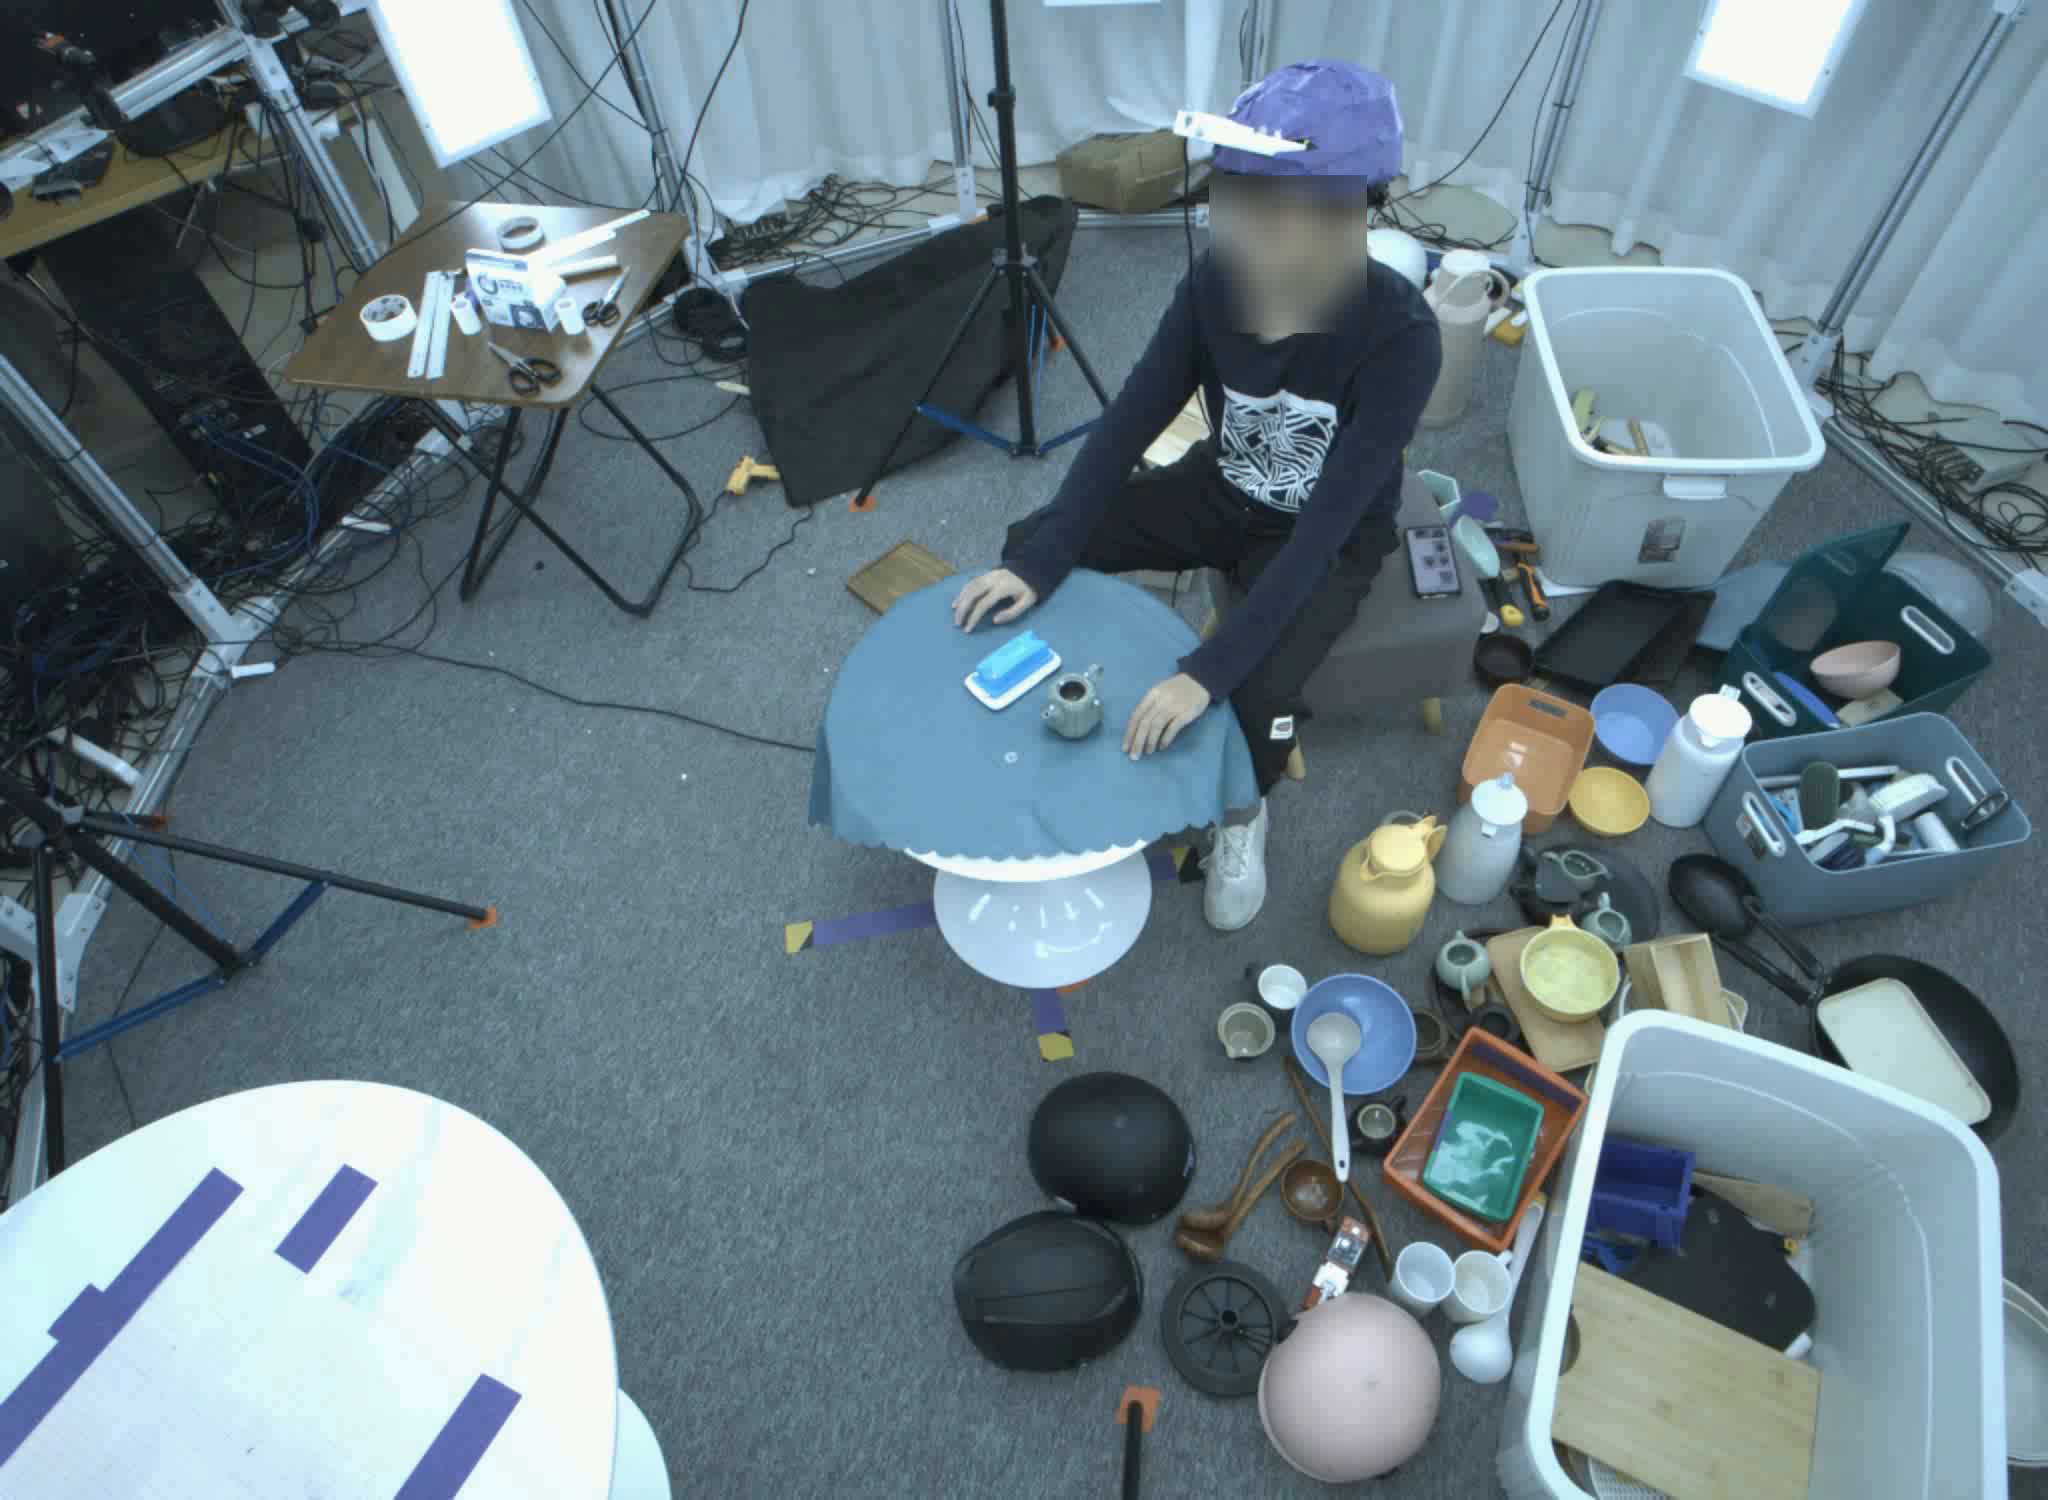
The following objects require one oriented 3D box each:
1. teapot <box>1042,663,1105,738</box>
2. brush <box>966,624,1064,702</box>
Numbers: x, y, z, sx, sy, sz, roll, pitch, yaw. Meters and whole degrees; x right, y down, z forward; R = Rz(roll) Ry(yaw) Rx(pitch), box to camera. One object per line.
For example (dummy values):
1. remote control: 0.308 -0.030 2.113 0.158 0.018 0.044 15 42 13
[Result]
1. teapot: 0.071 -0.068 1.781 0.078 0.076 0.133 34 61 24
2. brush: -0.014 -0.138 1.840 0.145 0.056 0.082 -37 64 -18
